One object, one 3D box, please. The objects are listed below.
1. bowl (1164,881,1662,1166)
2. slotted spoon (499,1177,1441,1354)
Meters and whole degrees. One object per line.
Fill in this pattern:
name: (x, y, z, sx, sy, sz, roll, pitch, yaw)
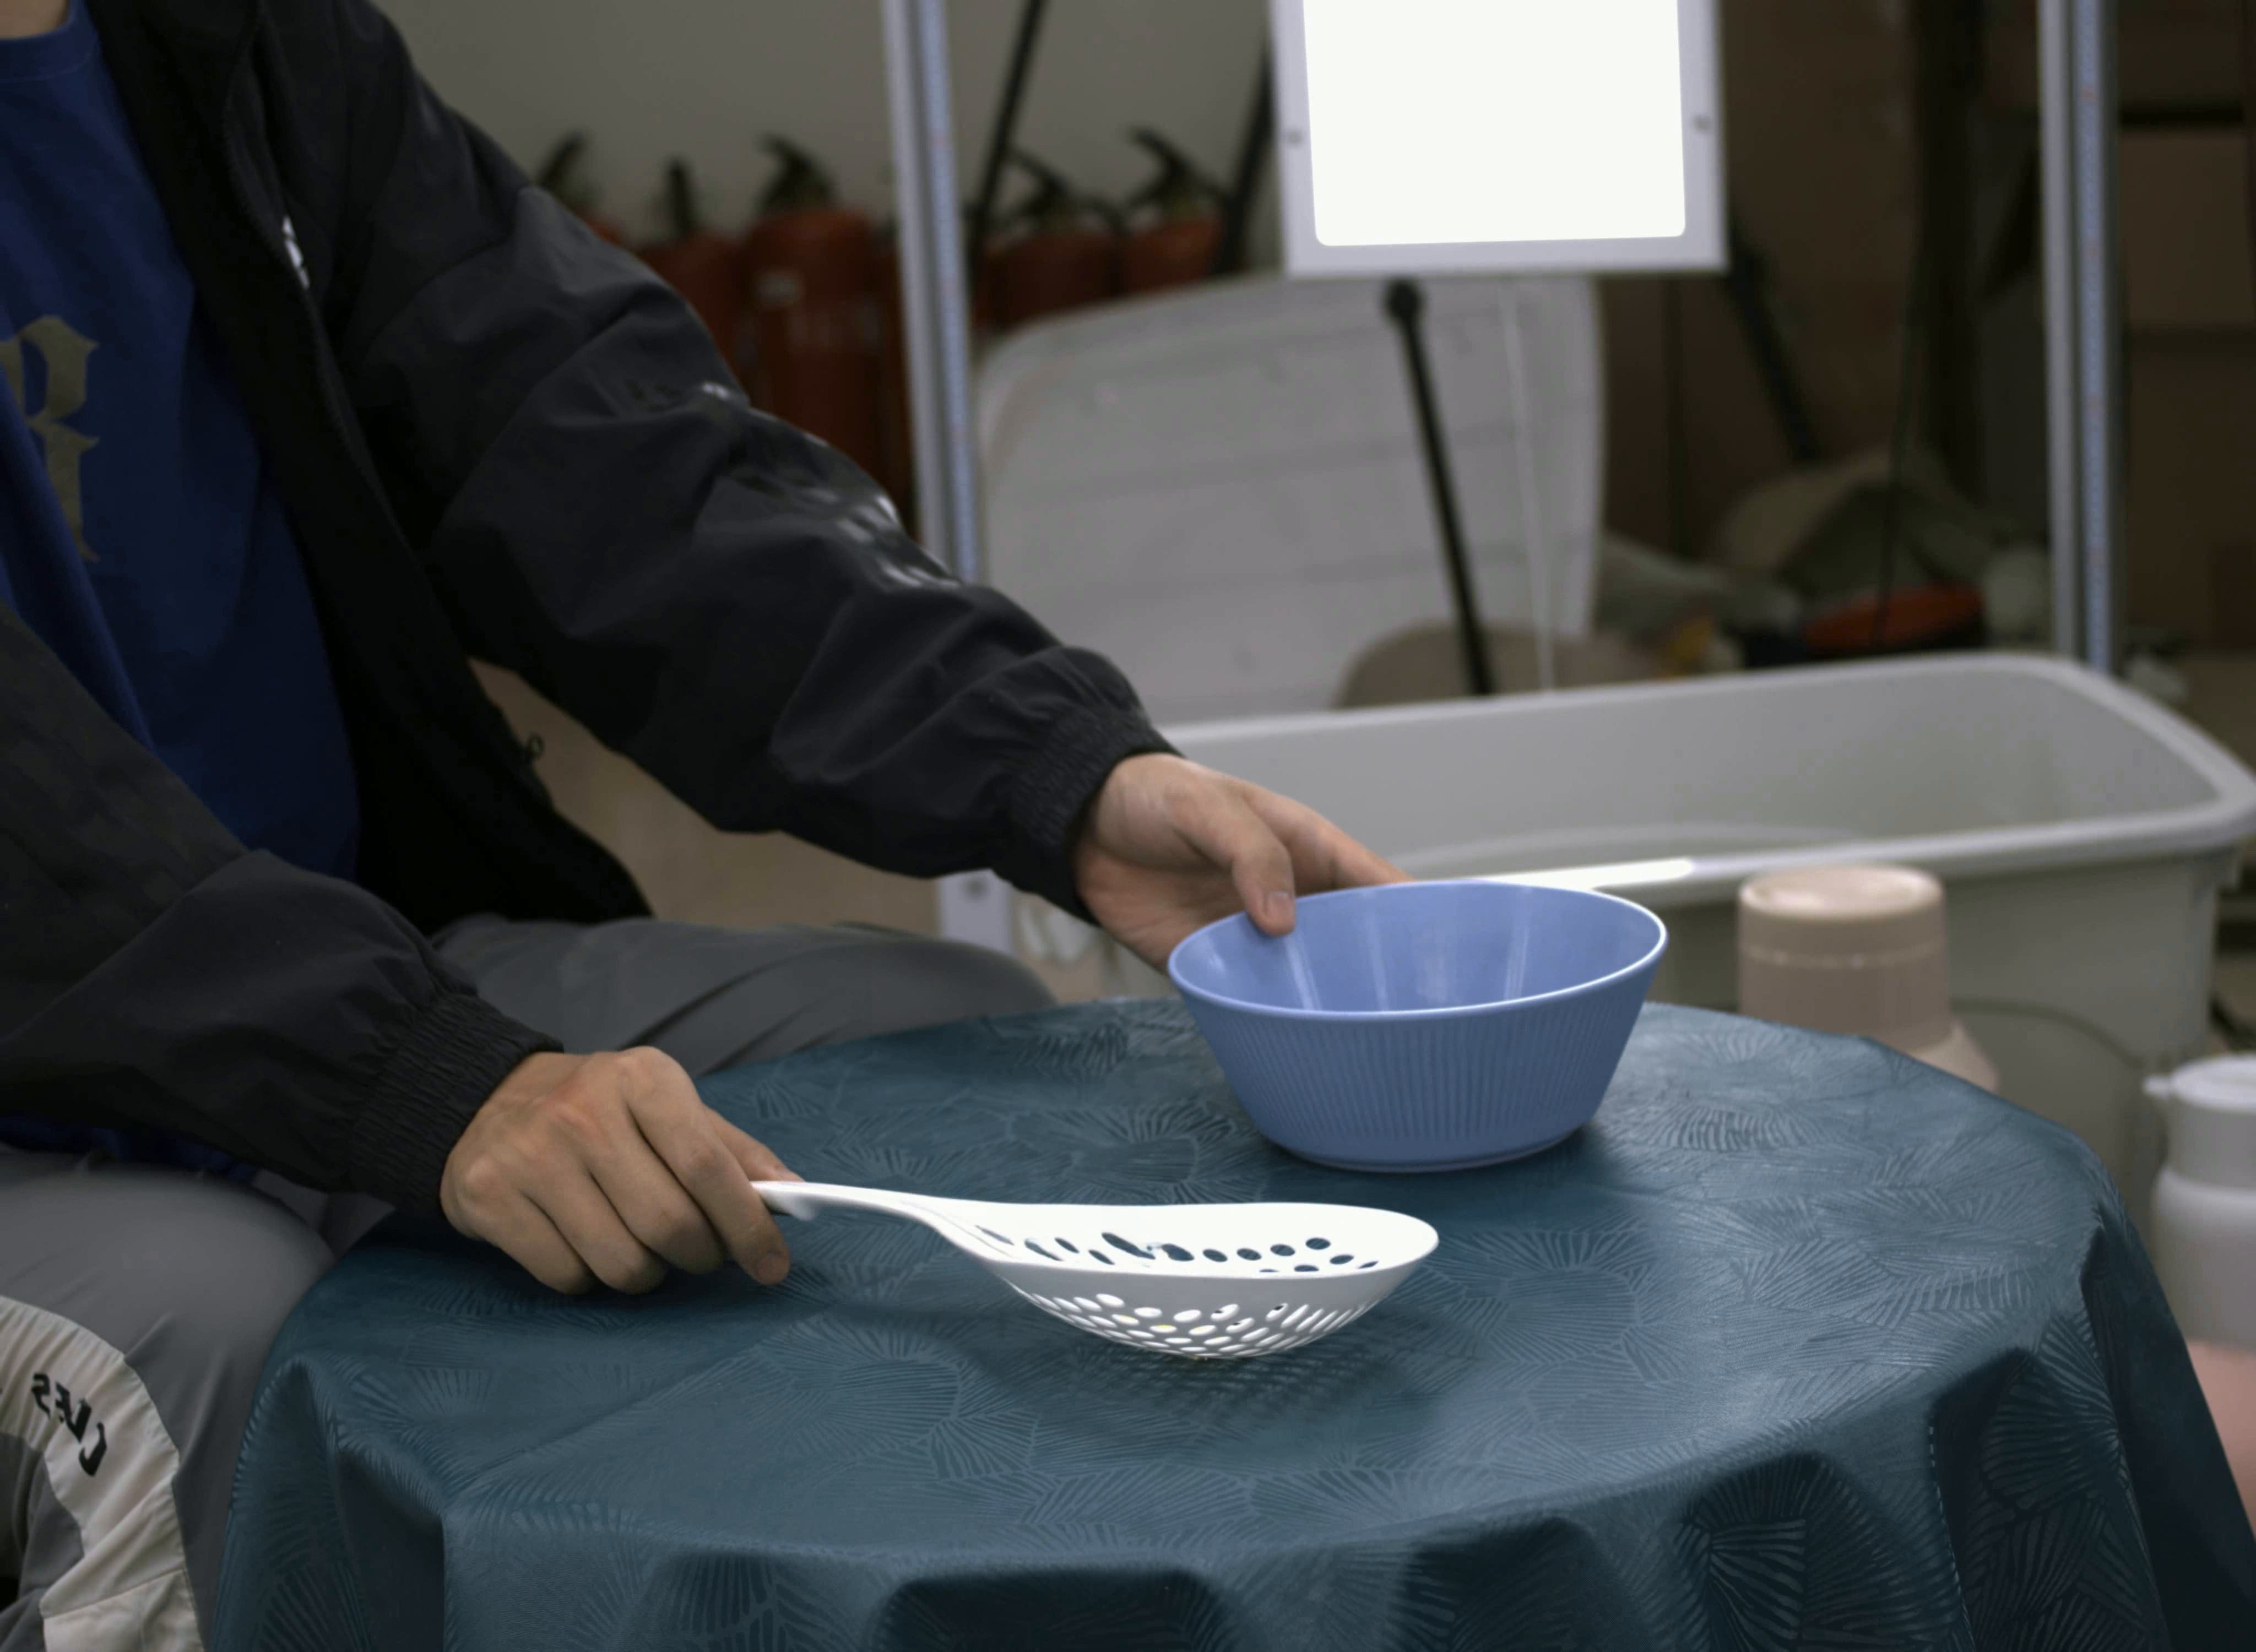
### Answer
bowl: (0.102, 0.071, 1.931, 0.175, 0.070, 0.176, -4, 14, 0)
slotted spoon: (-0.062, 0.134, 1.783, 0.355, 0.050, 0.133, 6, 11, 35)
